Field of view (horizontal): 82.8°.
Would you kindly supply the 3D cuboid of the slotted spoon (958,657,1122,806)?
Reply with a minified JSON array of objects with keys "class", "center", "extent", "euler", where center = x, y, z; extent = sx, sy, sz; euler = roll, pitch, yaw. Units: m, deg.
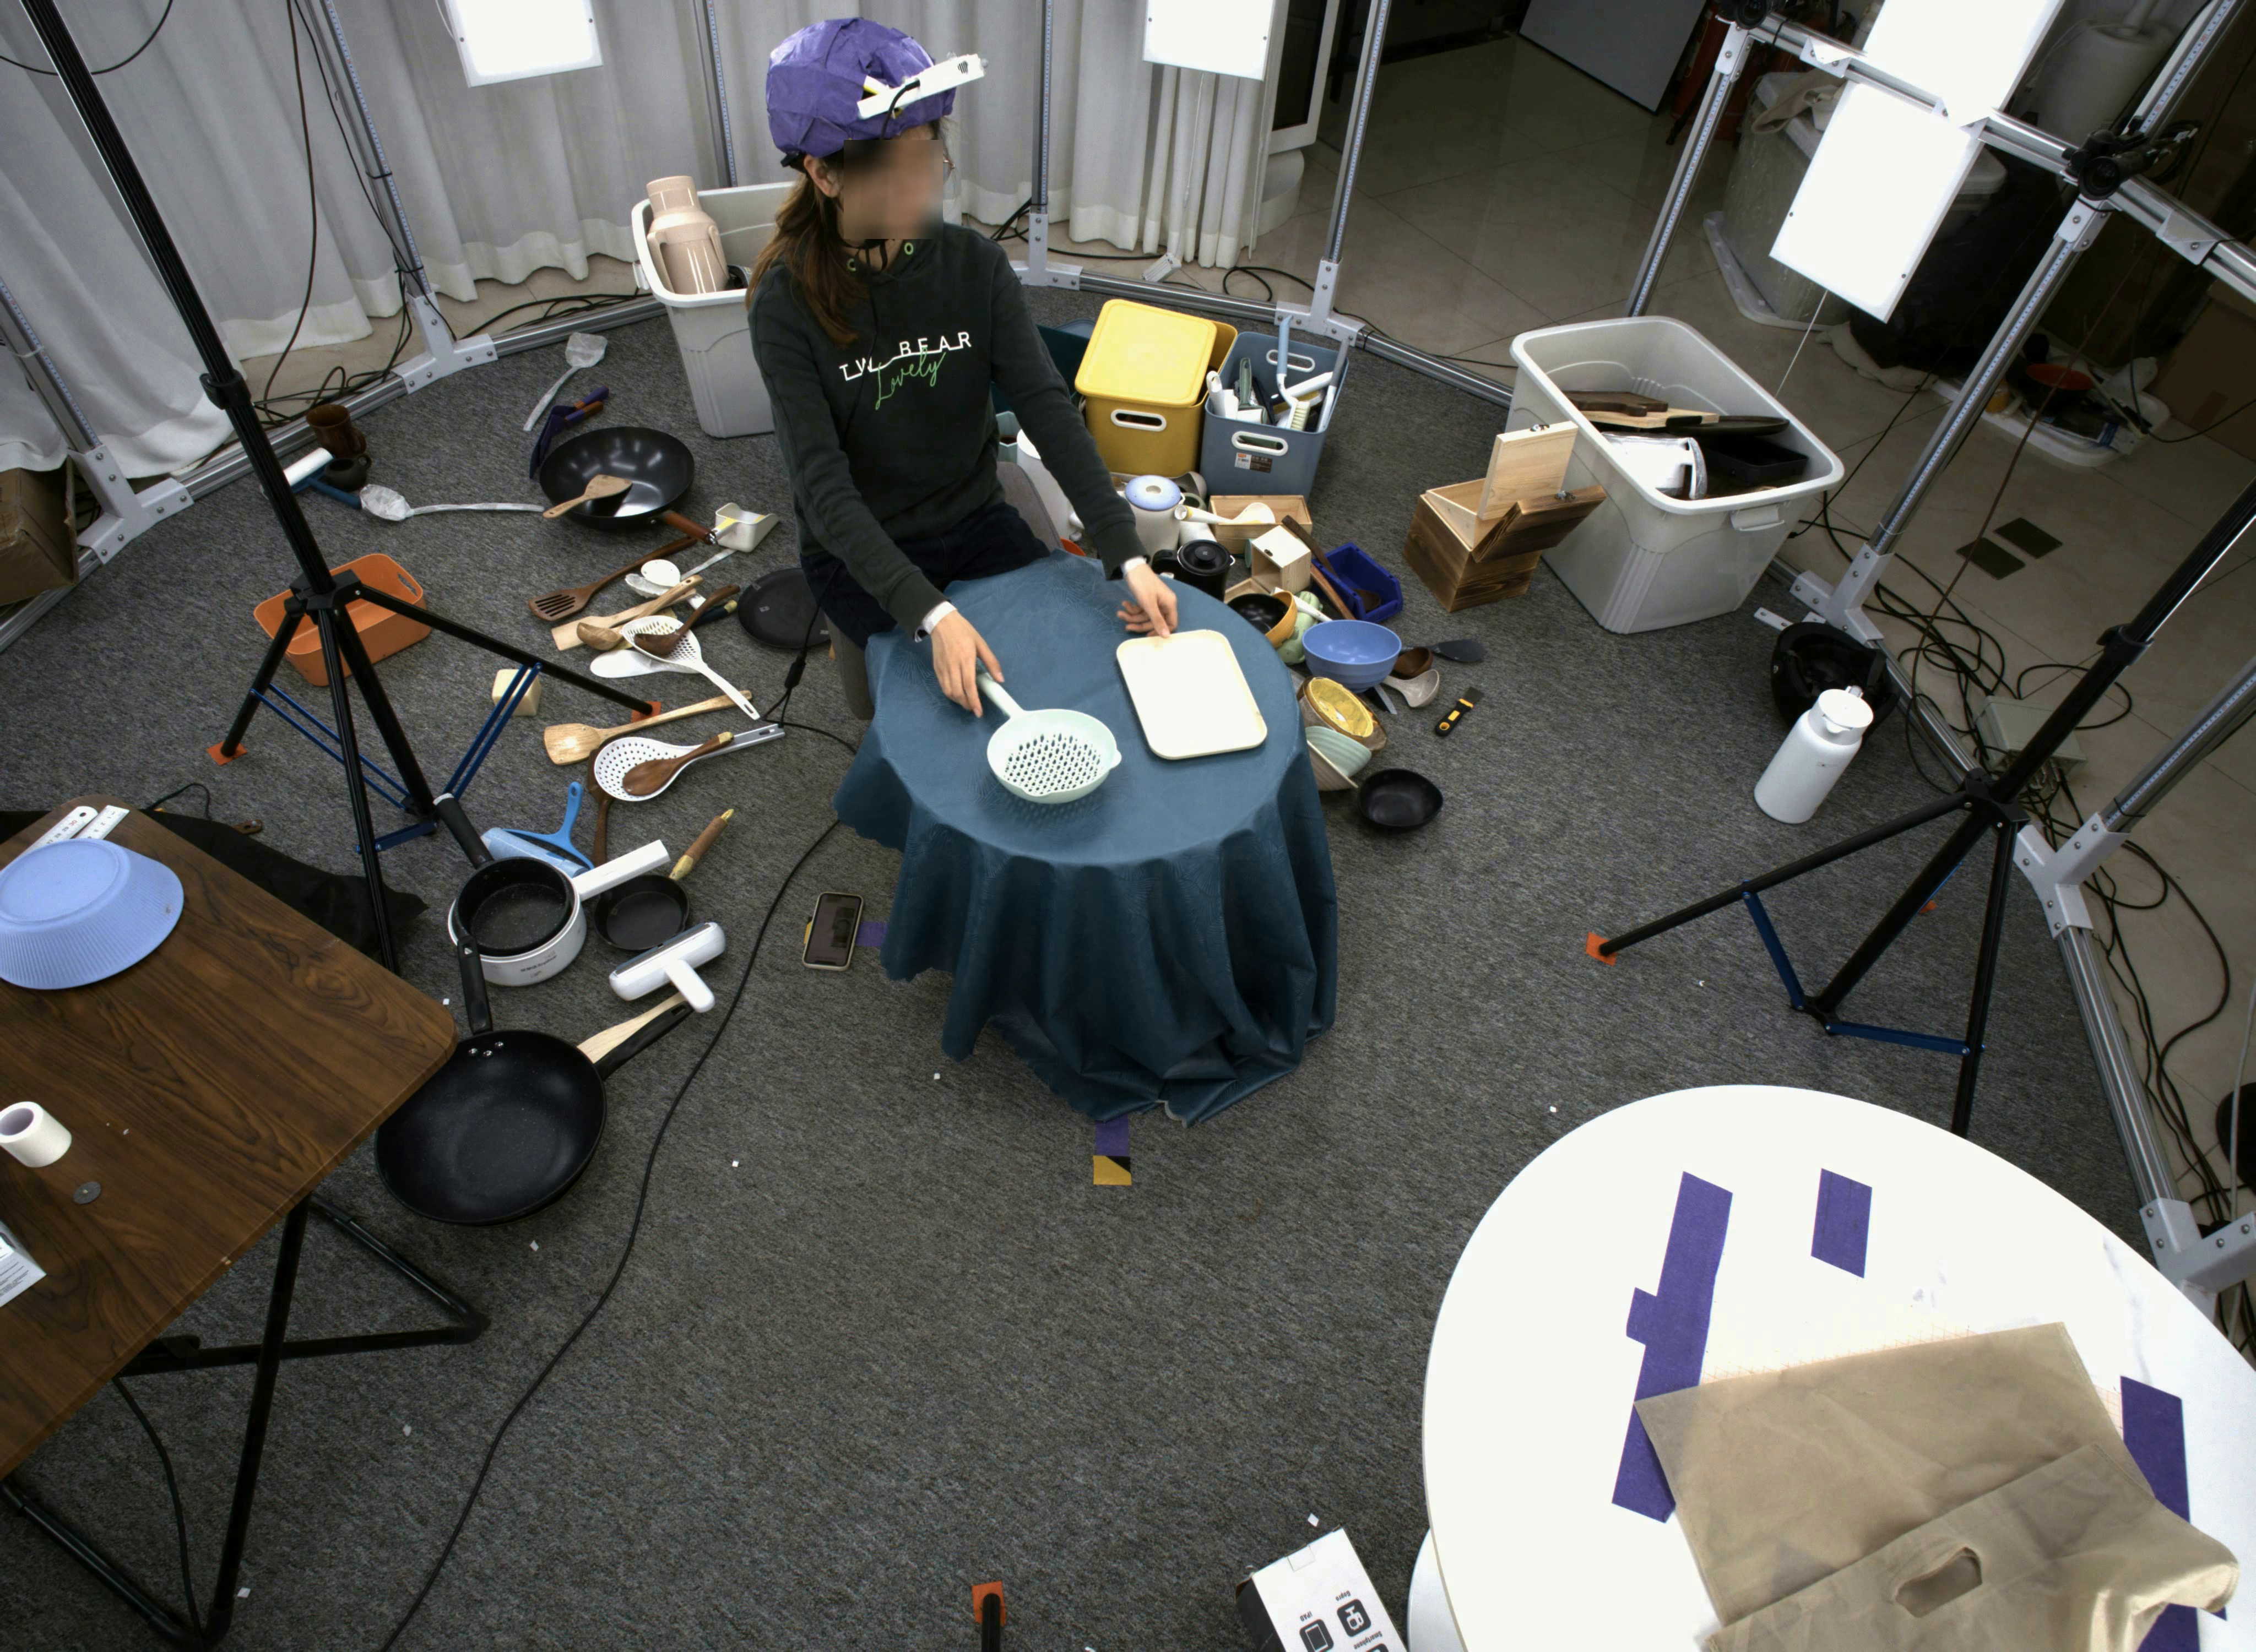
[{"class":"slotted spoon","center":[-0.150,-0.147,1.761],"extent":[0.170,0.073,0.366],"euler":[-22,53,-22]}]

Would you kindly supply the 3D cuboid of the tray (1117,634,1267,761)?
[{"class":"tray","center":[0.089,-0.186,1.842],"extent":[0.171,0.017,0.245],"euler":[-9,49,-12]}]
